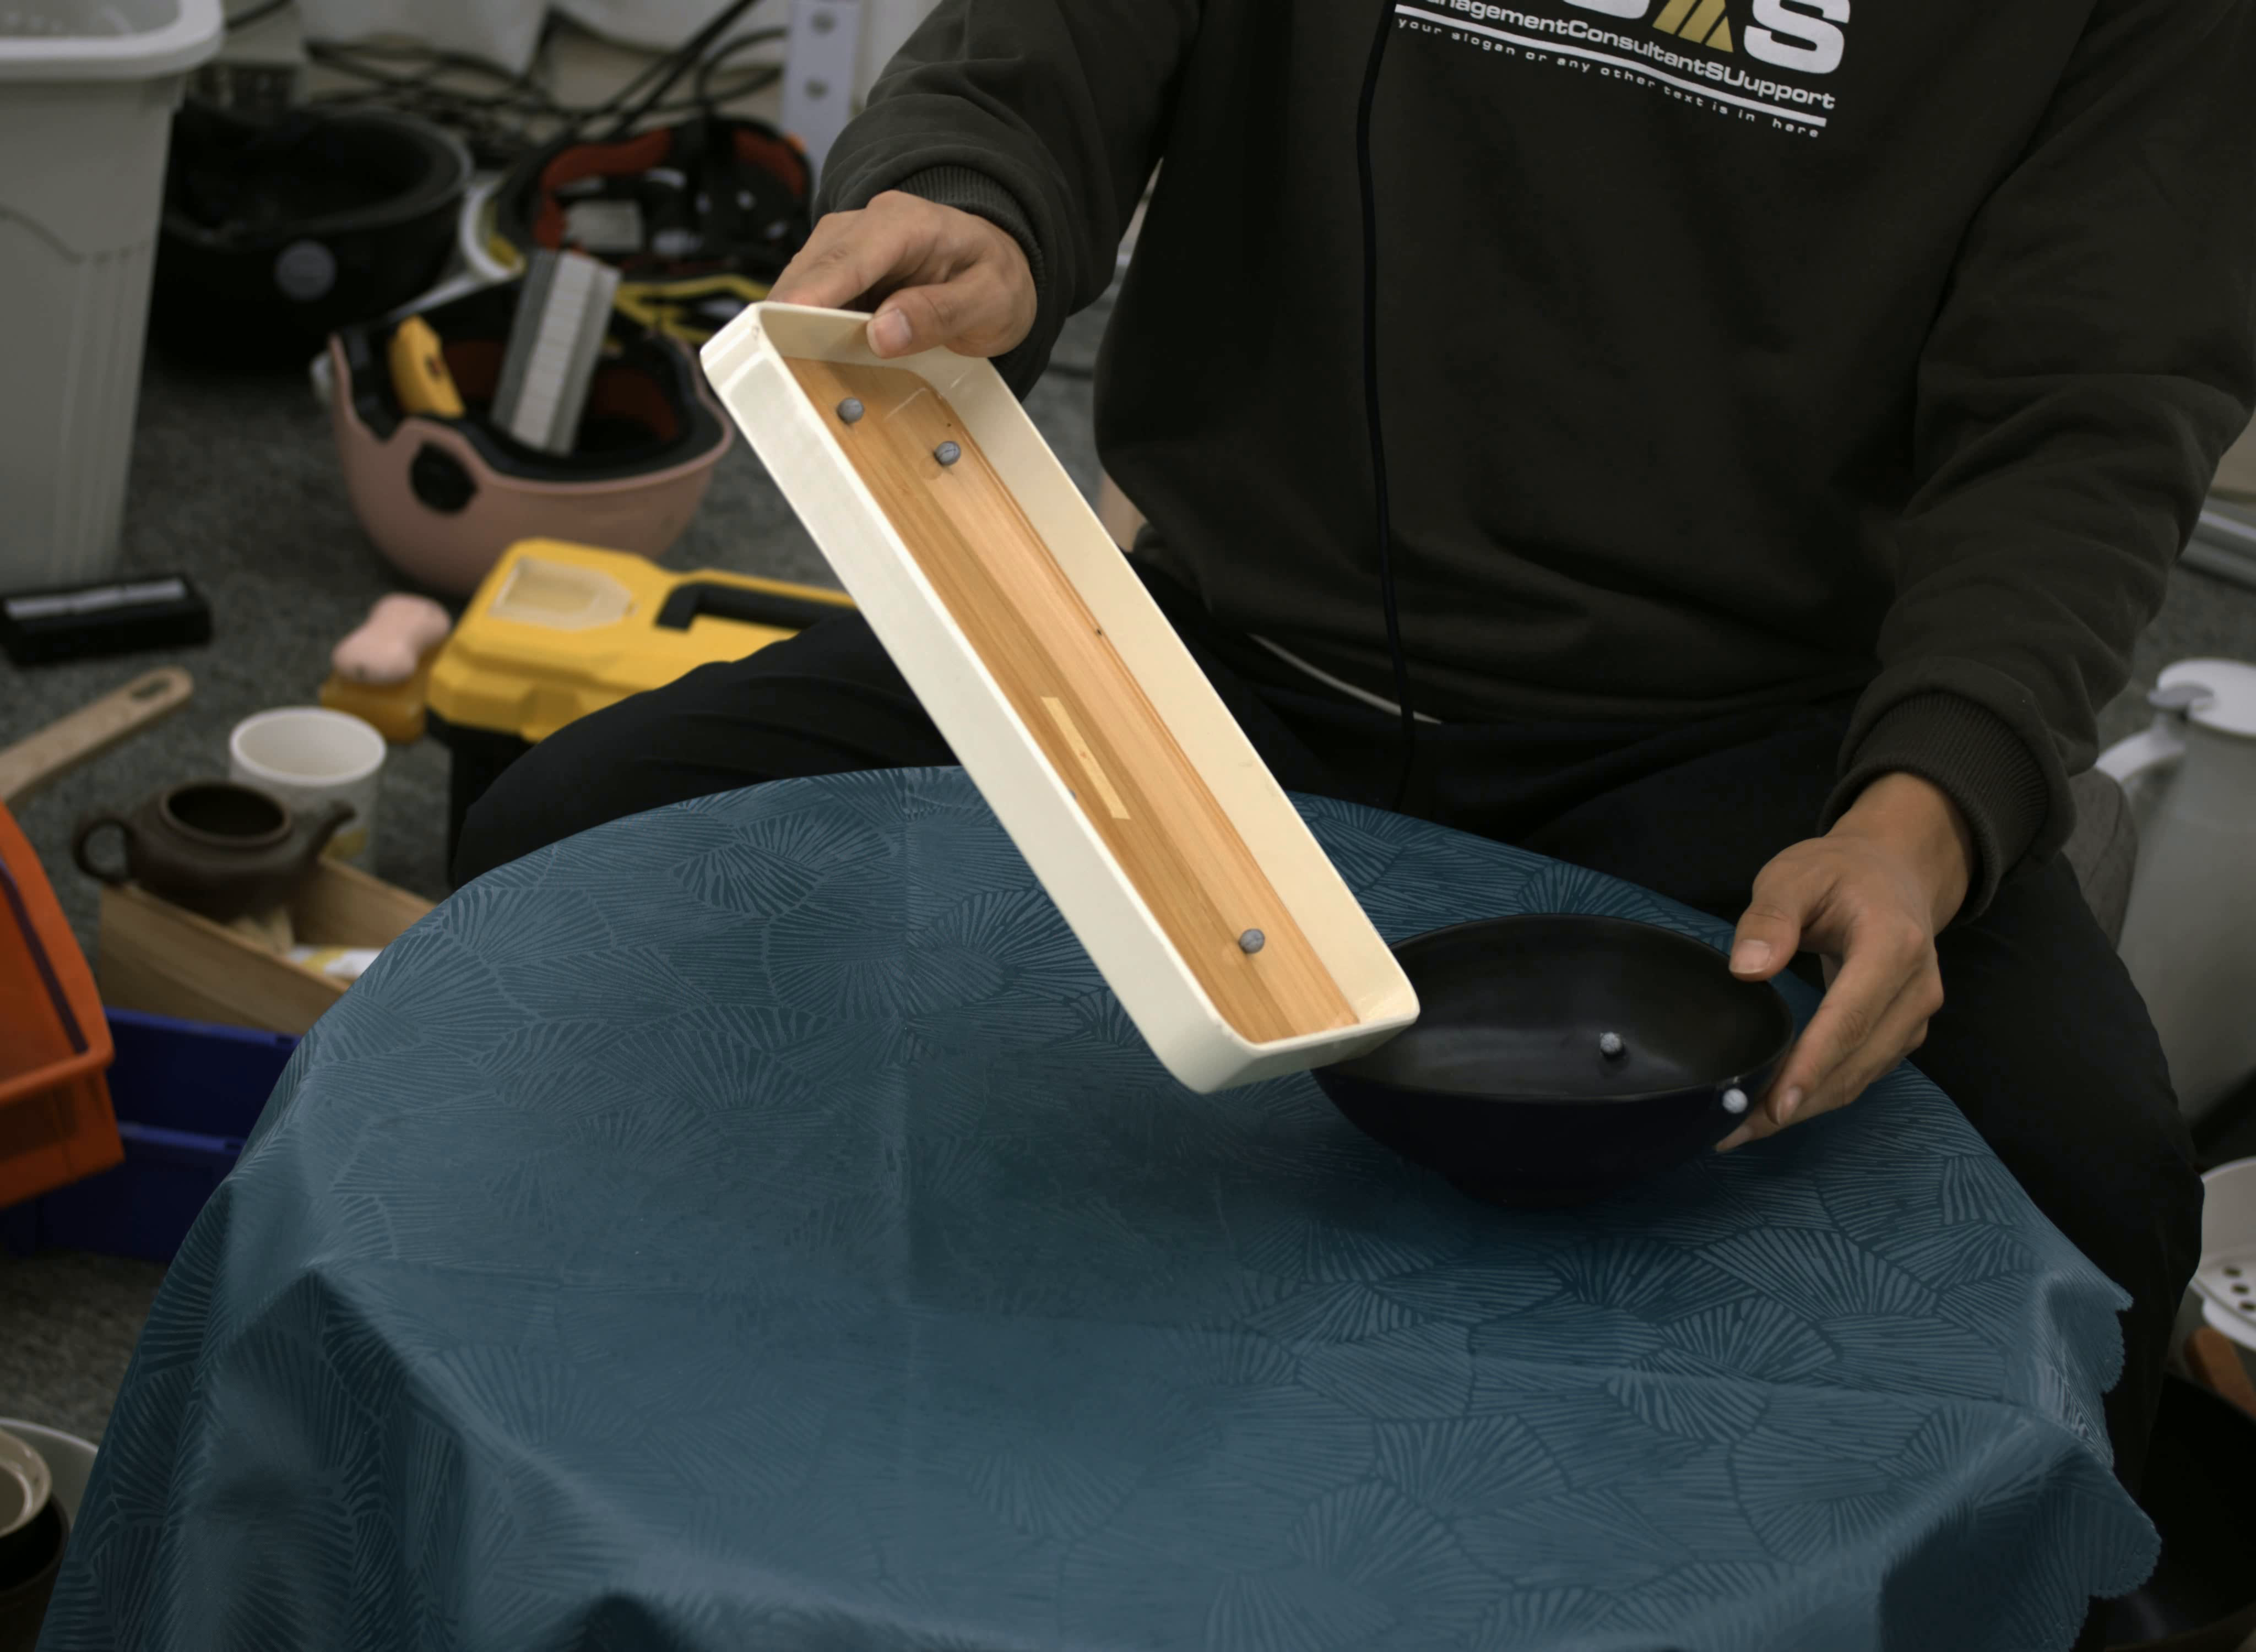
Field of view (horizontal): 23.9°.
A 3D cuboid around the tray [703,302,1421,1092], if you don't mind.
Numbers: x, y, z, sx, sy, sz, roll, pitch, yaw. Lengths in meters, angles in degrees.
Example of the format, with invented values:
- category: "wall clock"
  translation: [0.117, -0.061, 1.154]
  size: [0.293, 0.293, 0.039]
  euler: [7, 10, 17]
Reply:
- category: "tray"
  translation: [-0.020, -0.046, 1.788]
  size: [0.301, 0.027, 0.190]
  euler: [56, 19, 12]

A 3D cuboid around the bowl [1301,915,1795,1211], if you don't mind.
- category: "bowl"
  translation: [0.144, 0.090, 1.833]
  size: [0.170, 0.066, 0.138]
  euler: [-2, 25, -1]
